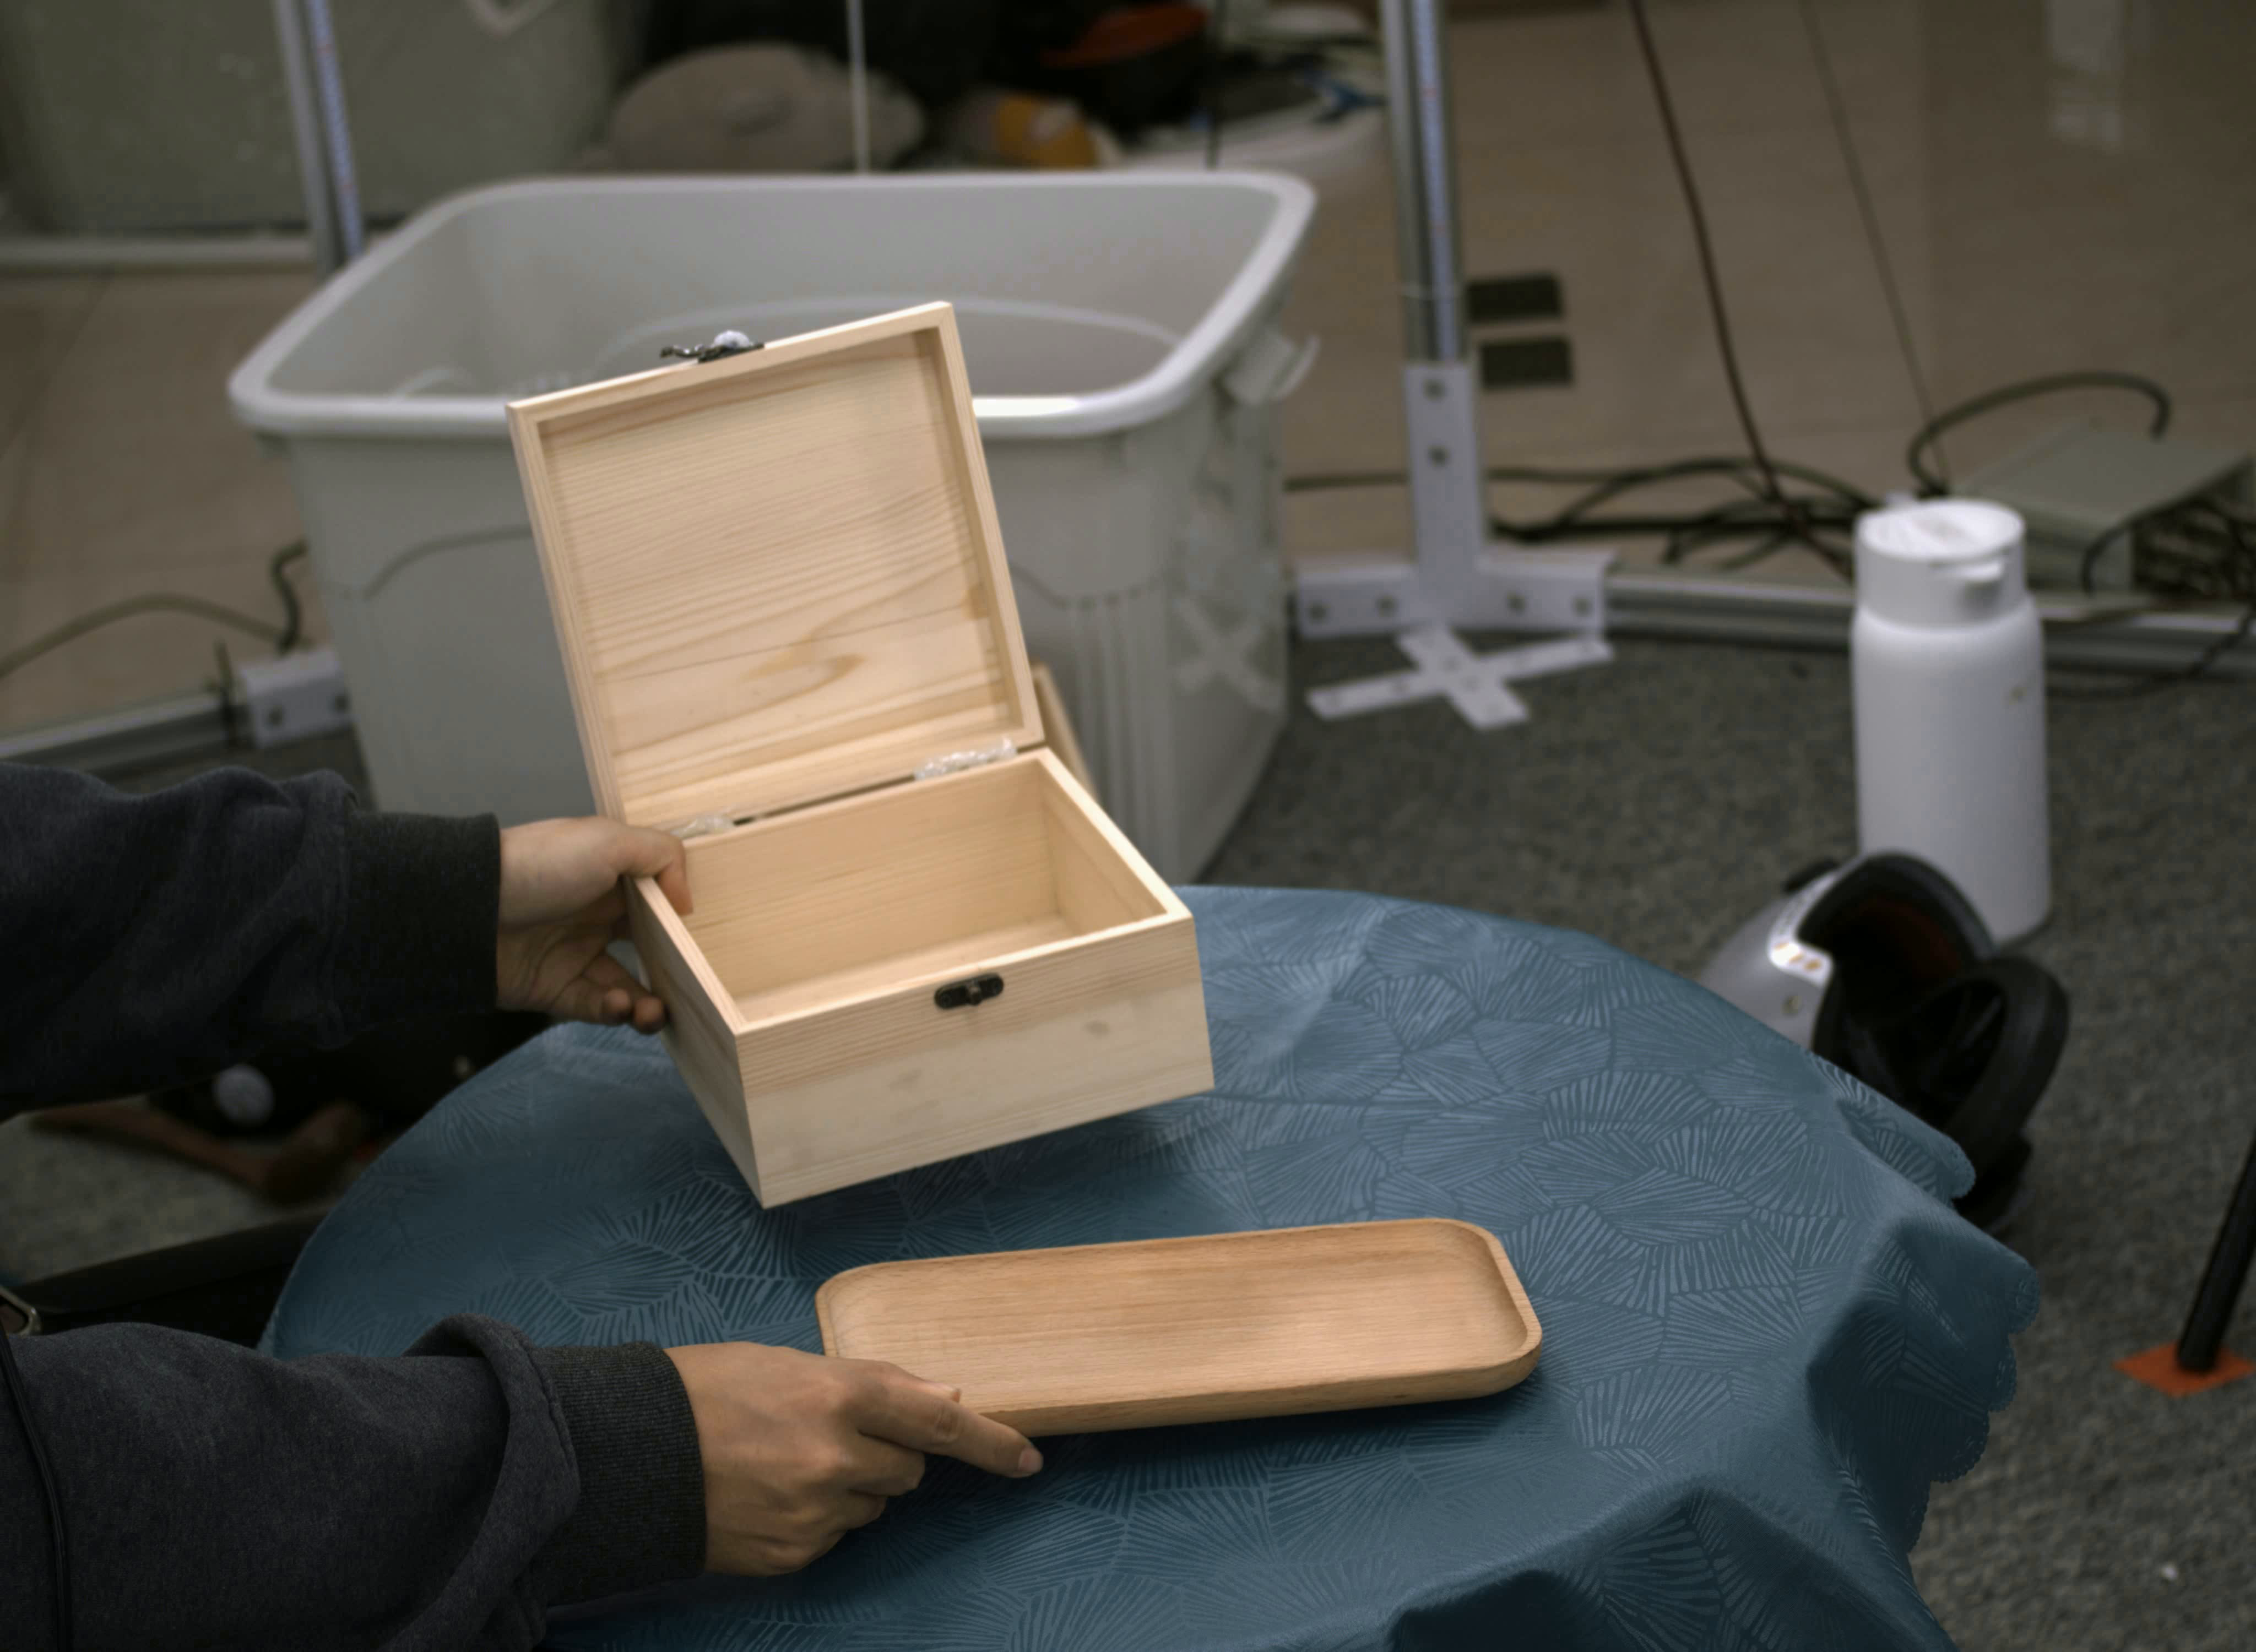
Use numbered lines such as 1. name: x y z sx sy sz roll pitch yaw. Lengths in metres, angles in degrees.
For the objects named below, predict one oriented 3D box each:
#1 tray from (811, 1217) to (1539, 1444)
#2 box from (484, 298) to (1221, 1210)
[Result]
1. tray: 0.015 0.178 2.009 0.250 0.023 0.129 -5 19 -6
2. box: -0.108 -0.035 2.180 0.181 0.257 0.262 -18 26 -13
